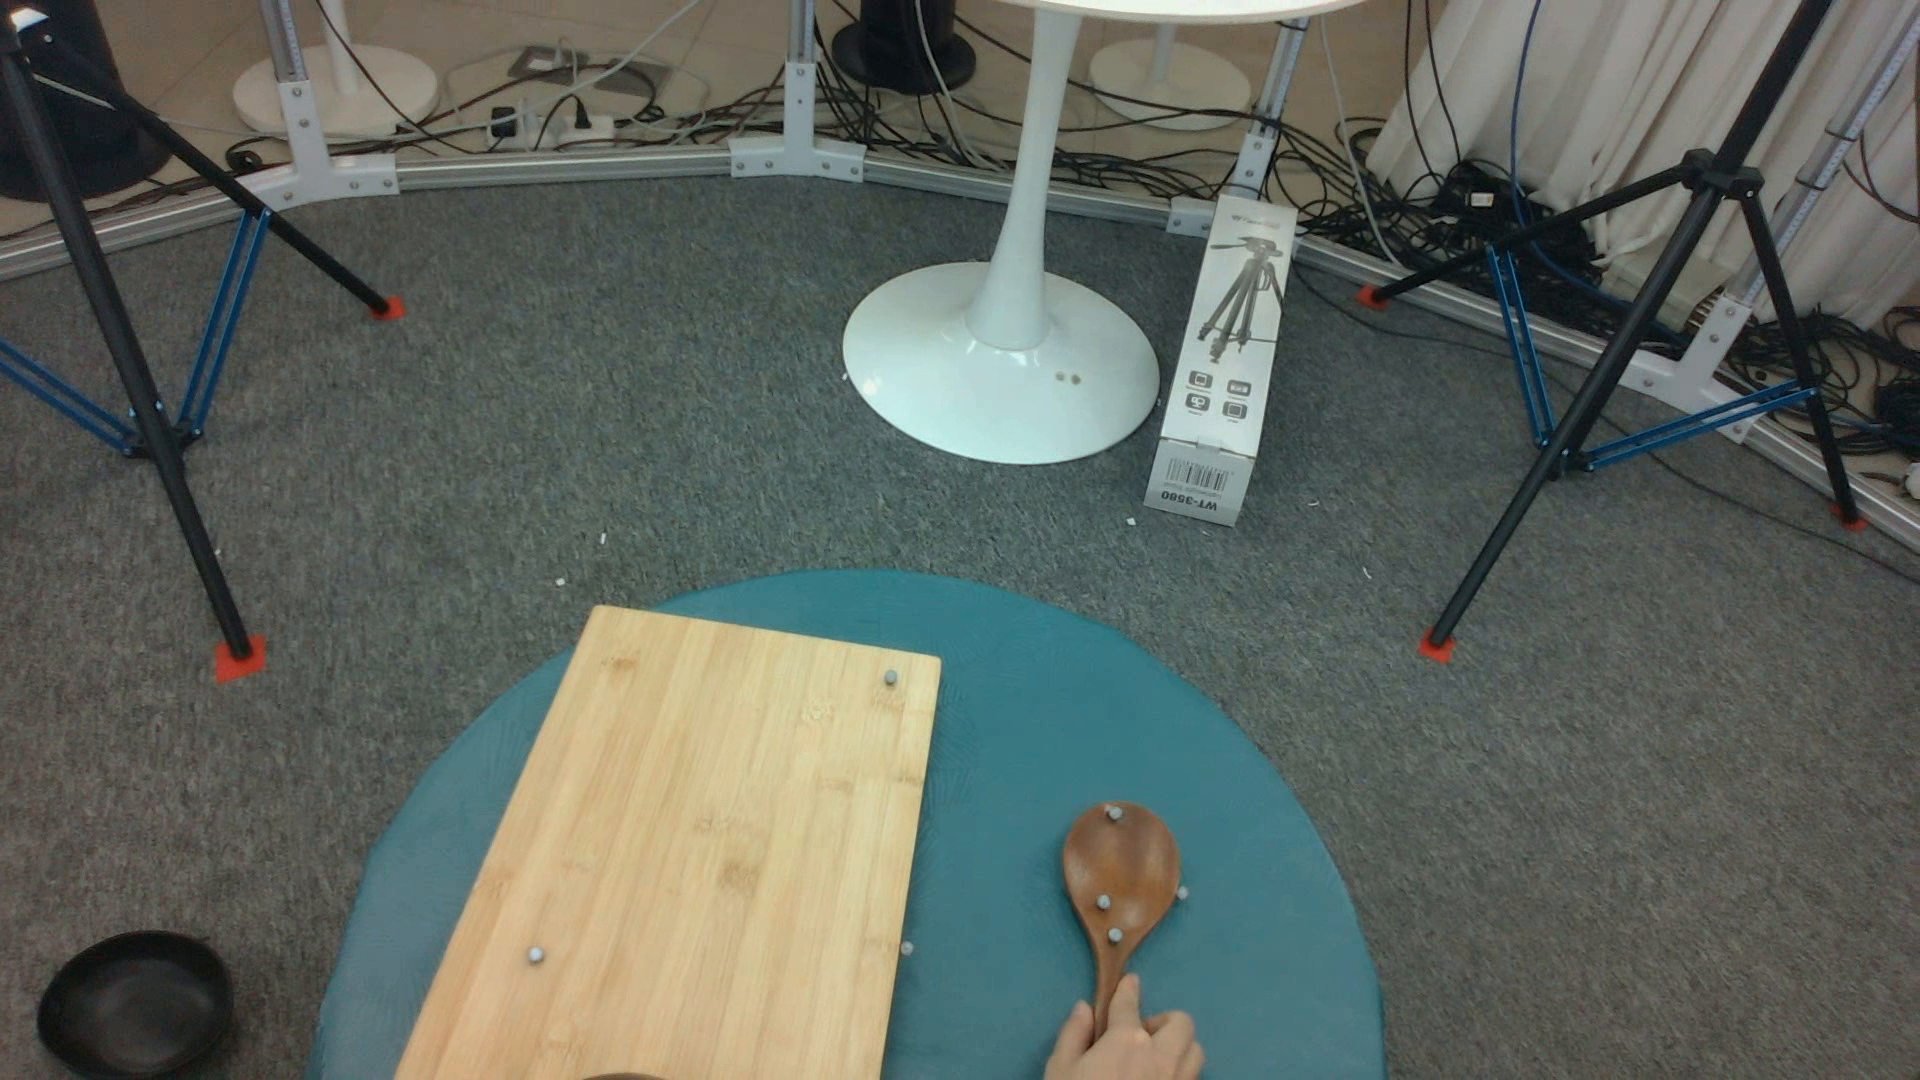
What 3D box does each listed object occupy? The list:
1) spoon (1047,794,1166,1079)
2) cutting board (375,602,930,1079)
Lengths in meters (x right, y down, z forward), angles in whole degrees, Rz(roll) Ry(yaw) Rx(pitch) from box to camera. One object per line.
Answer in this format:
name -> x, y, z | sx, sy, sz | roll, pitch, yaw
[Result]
spoon -> 0.080, 0.241, 0.805 | 0.075, 0.017, 0.217 | 13, 44, 0
cutting board -> -0.157, 0.182, 0.811 | 0.251, 0.023, 0.350 | 8, 42, -2
